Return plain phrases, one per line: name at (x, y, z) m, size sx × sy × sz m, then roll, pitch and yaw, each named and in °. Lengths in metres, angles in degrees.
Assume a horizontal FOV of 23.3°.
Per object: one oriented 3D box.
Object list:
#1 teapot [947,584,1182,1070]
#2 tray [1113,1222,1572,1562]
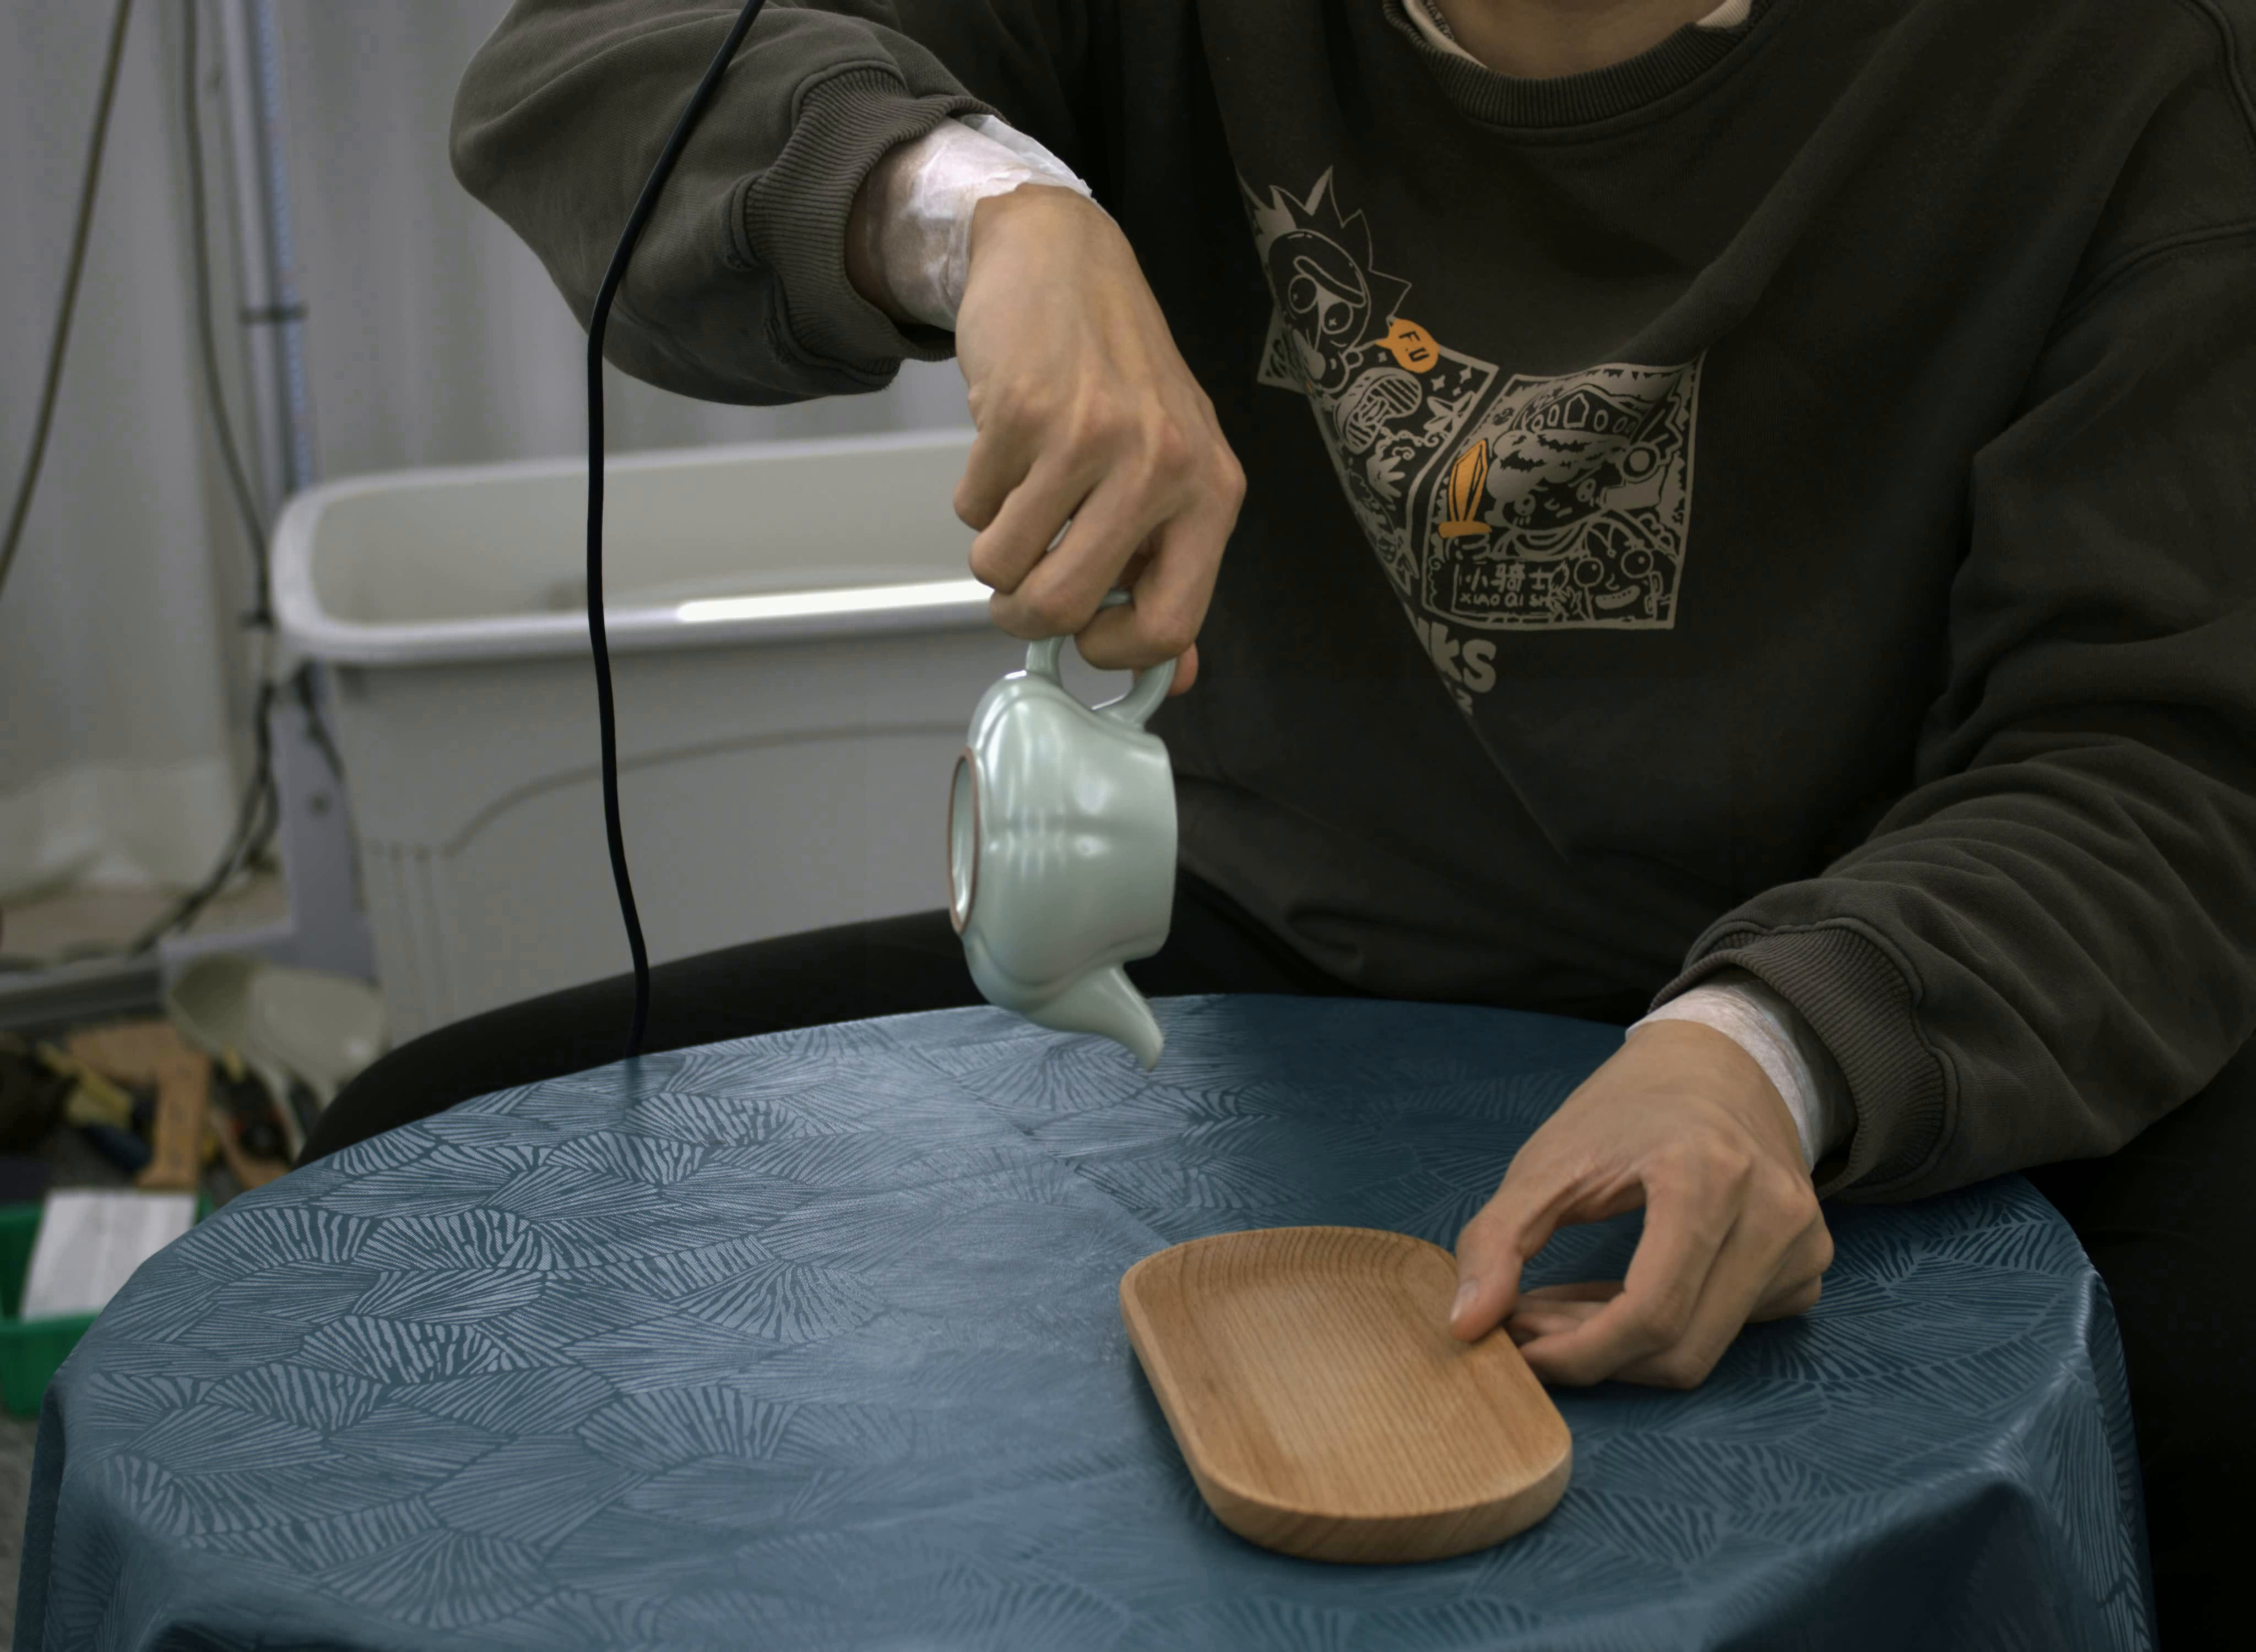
teapot at (-0.018, 0.000, 1.549) m, size 0.061 × 0.137 × 0.096 m, roll 3°, pitch -1°, yaw -10°
tray at (0.057, 0.155, 1.527) m, size 0.101 × 0.020 × 0.233 m, roll -5°, pitch 14°, yaw -9°
